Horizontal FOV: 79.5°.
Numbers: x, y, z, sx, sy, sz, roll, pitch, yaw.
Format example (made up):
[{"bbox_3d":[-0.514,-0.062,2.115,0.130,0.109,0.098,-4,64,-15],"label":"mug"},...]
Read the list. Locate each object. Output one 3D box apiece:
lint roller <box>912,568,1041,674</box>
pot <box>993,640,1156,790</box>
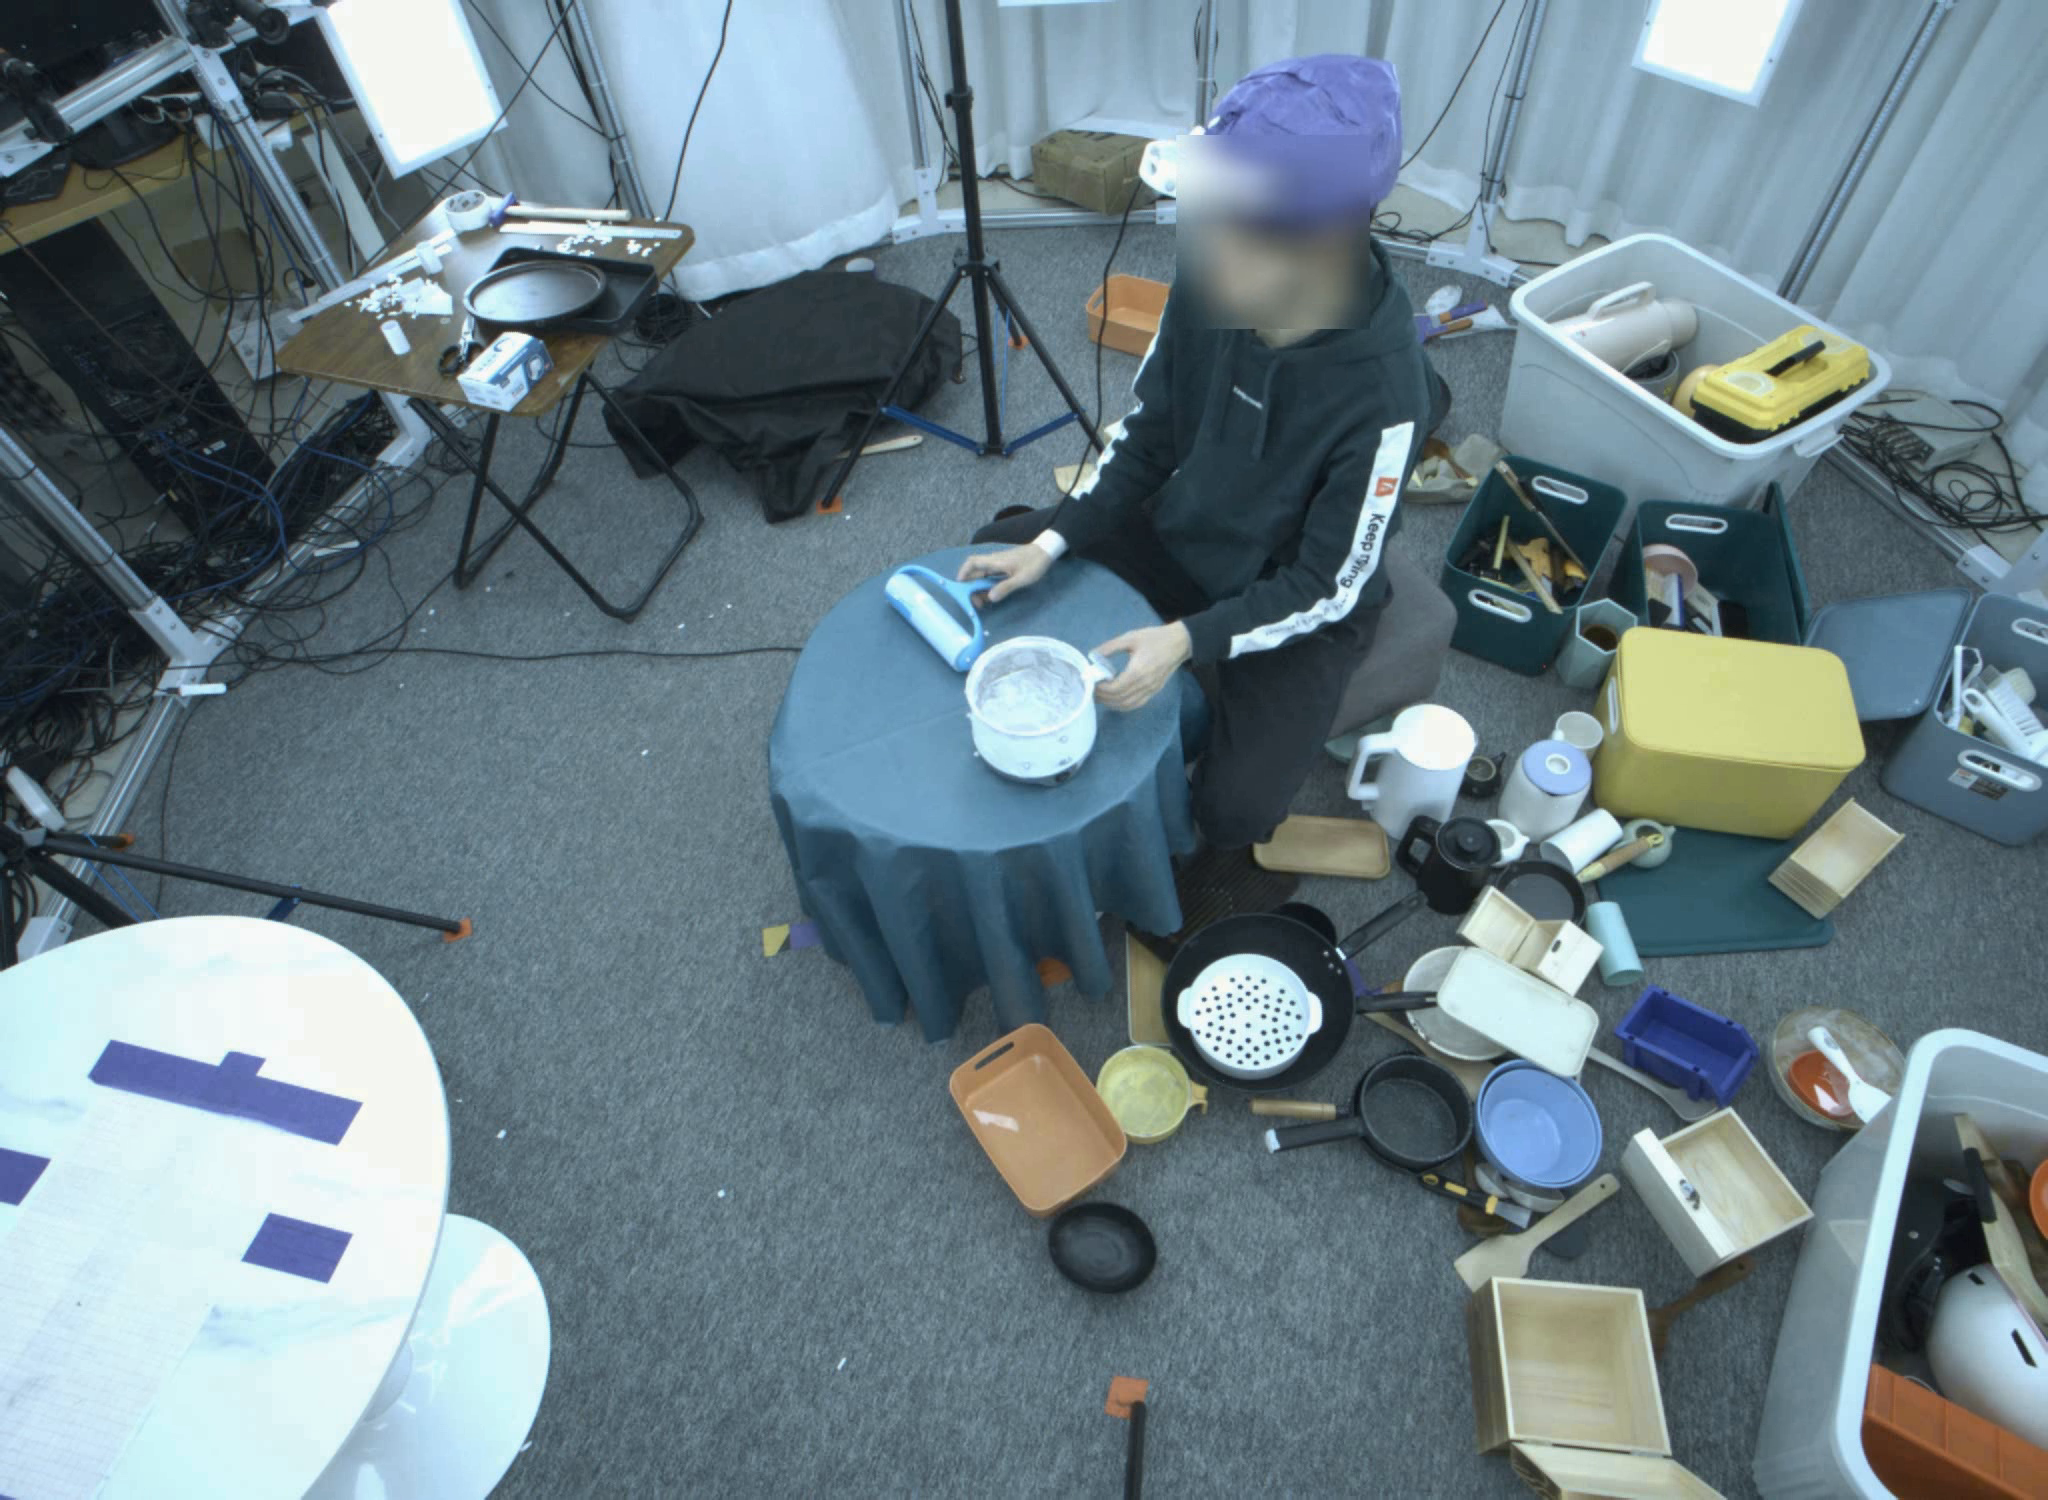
[{"bbox_3d":[-0.052,-0.227,1.912,0.181,0.069,0.224,-35,59,-20],"label":"lint roller"},{"bbox_3d":[0.077,-0.058,1.734,0.235,0.138,0.175,-24,57,-12],"label":"pot"}]
